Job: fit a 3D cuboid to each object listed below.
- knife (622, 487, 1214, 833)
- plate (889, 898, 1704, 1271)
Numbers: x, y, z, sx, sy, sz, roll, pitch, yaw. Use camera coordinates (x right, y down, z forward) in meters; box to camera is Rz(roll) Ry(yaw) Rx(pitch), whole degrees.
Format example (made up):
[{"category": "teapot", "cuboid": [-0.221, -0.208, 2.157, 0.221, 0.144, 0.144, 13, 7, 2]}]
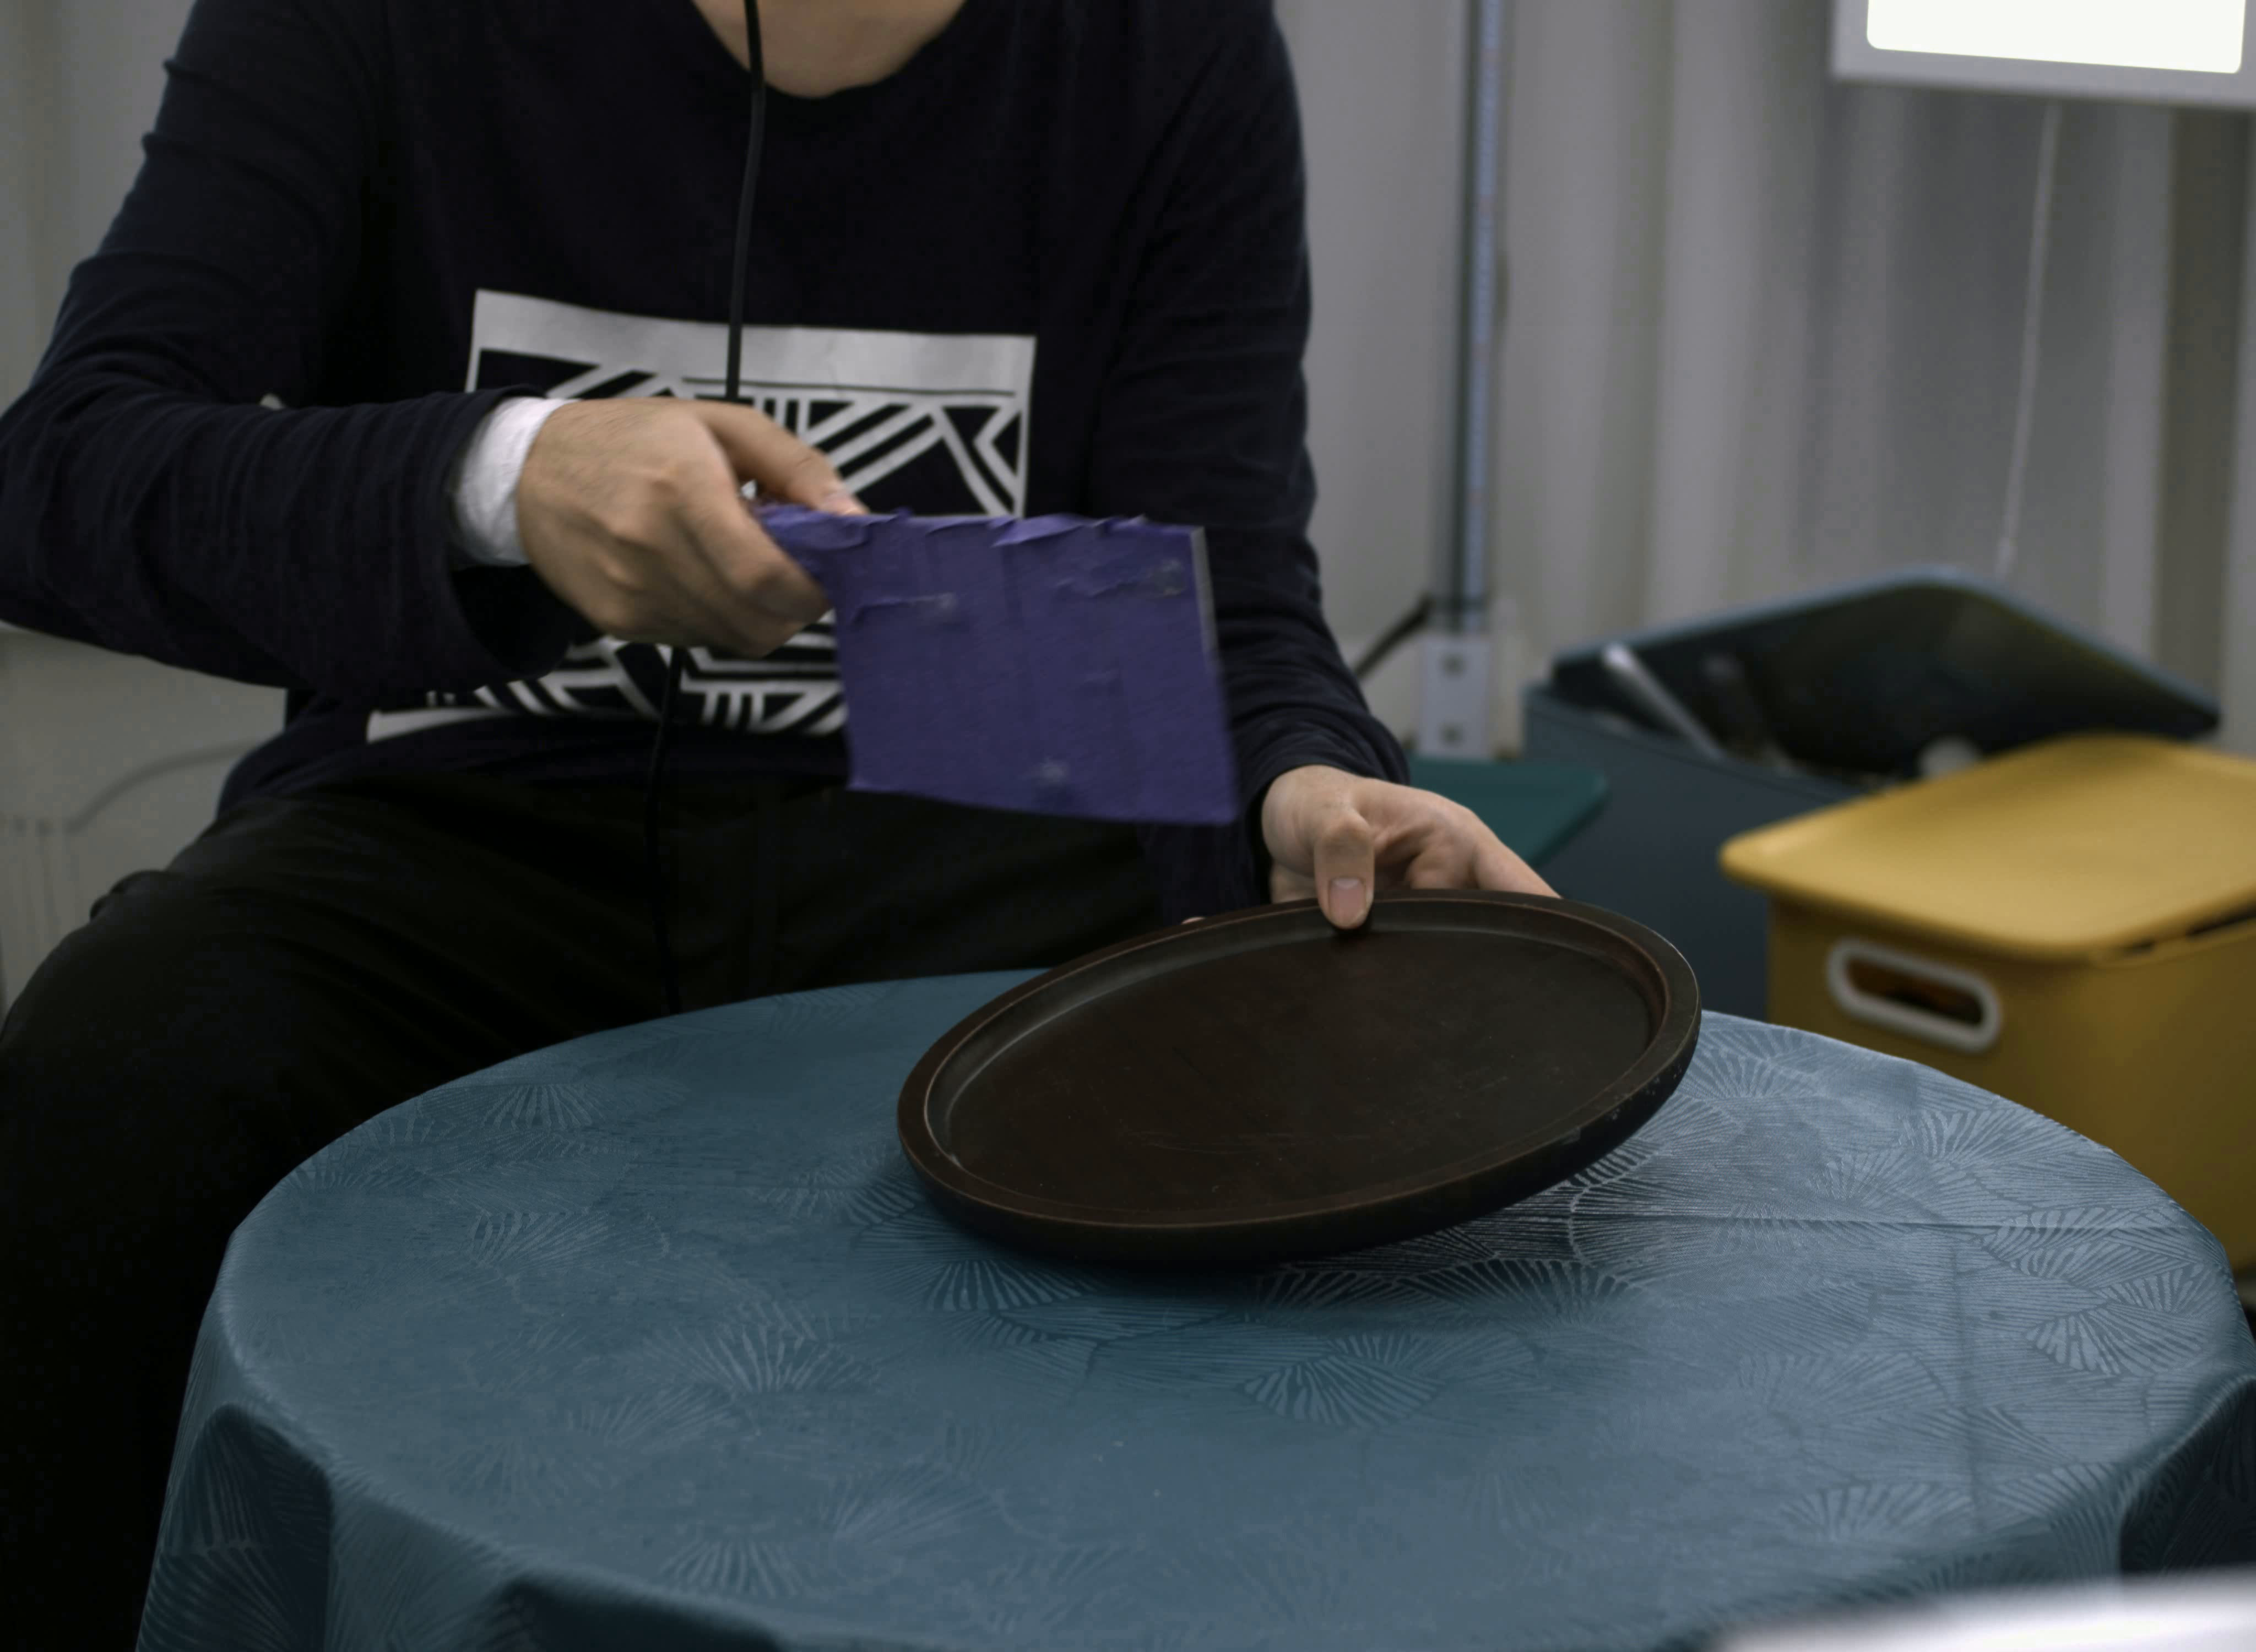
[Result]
[{"category": "knife", "cuboid": [-0.070, -0.052, 1.627, 0.032, 0.104, 0.312, -12, 9, -31]}, {"category": "plate", "cuboid": [0.053, 0.077, 1.632, 0.254, 0.029, 0.253, -8, 20, 4]}]
